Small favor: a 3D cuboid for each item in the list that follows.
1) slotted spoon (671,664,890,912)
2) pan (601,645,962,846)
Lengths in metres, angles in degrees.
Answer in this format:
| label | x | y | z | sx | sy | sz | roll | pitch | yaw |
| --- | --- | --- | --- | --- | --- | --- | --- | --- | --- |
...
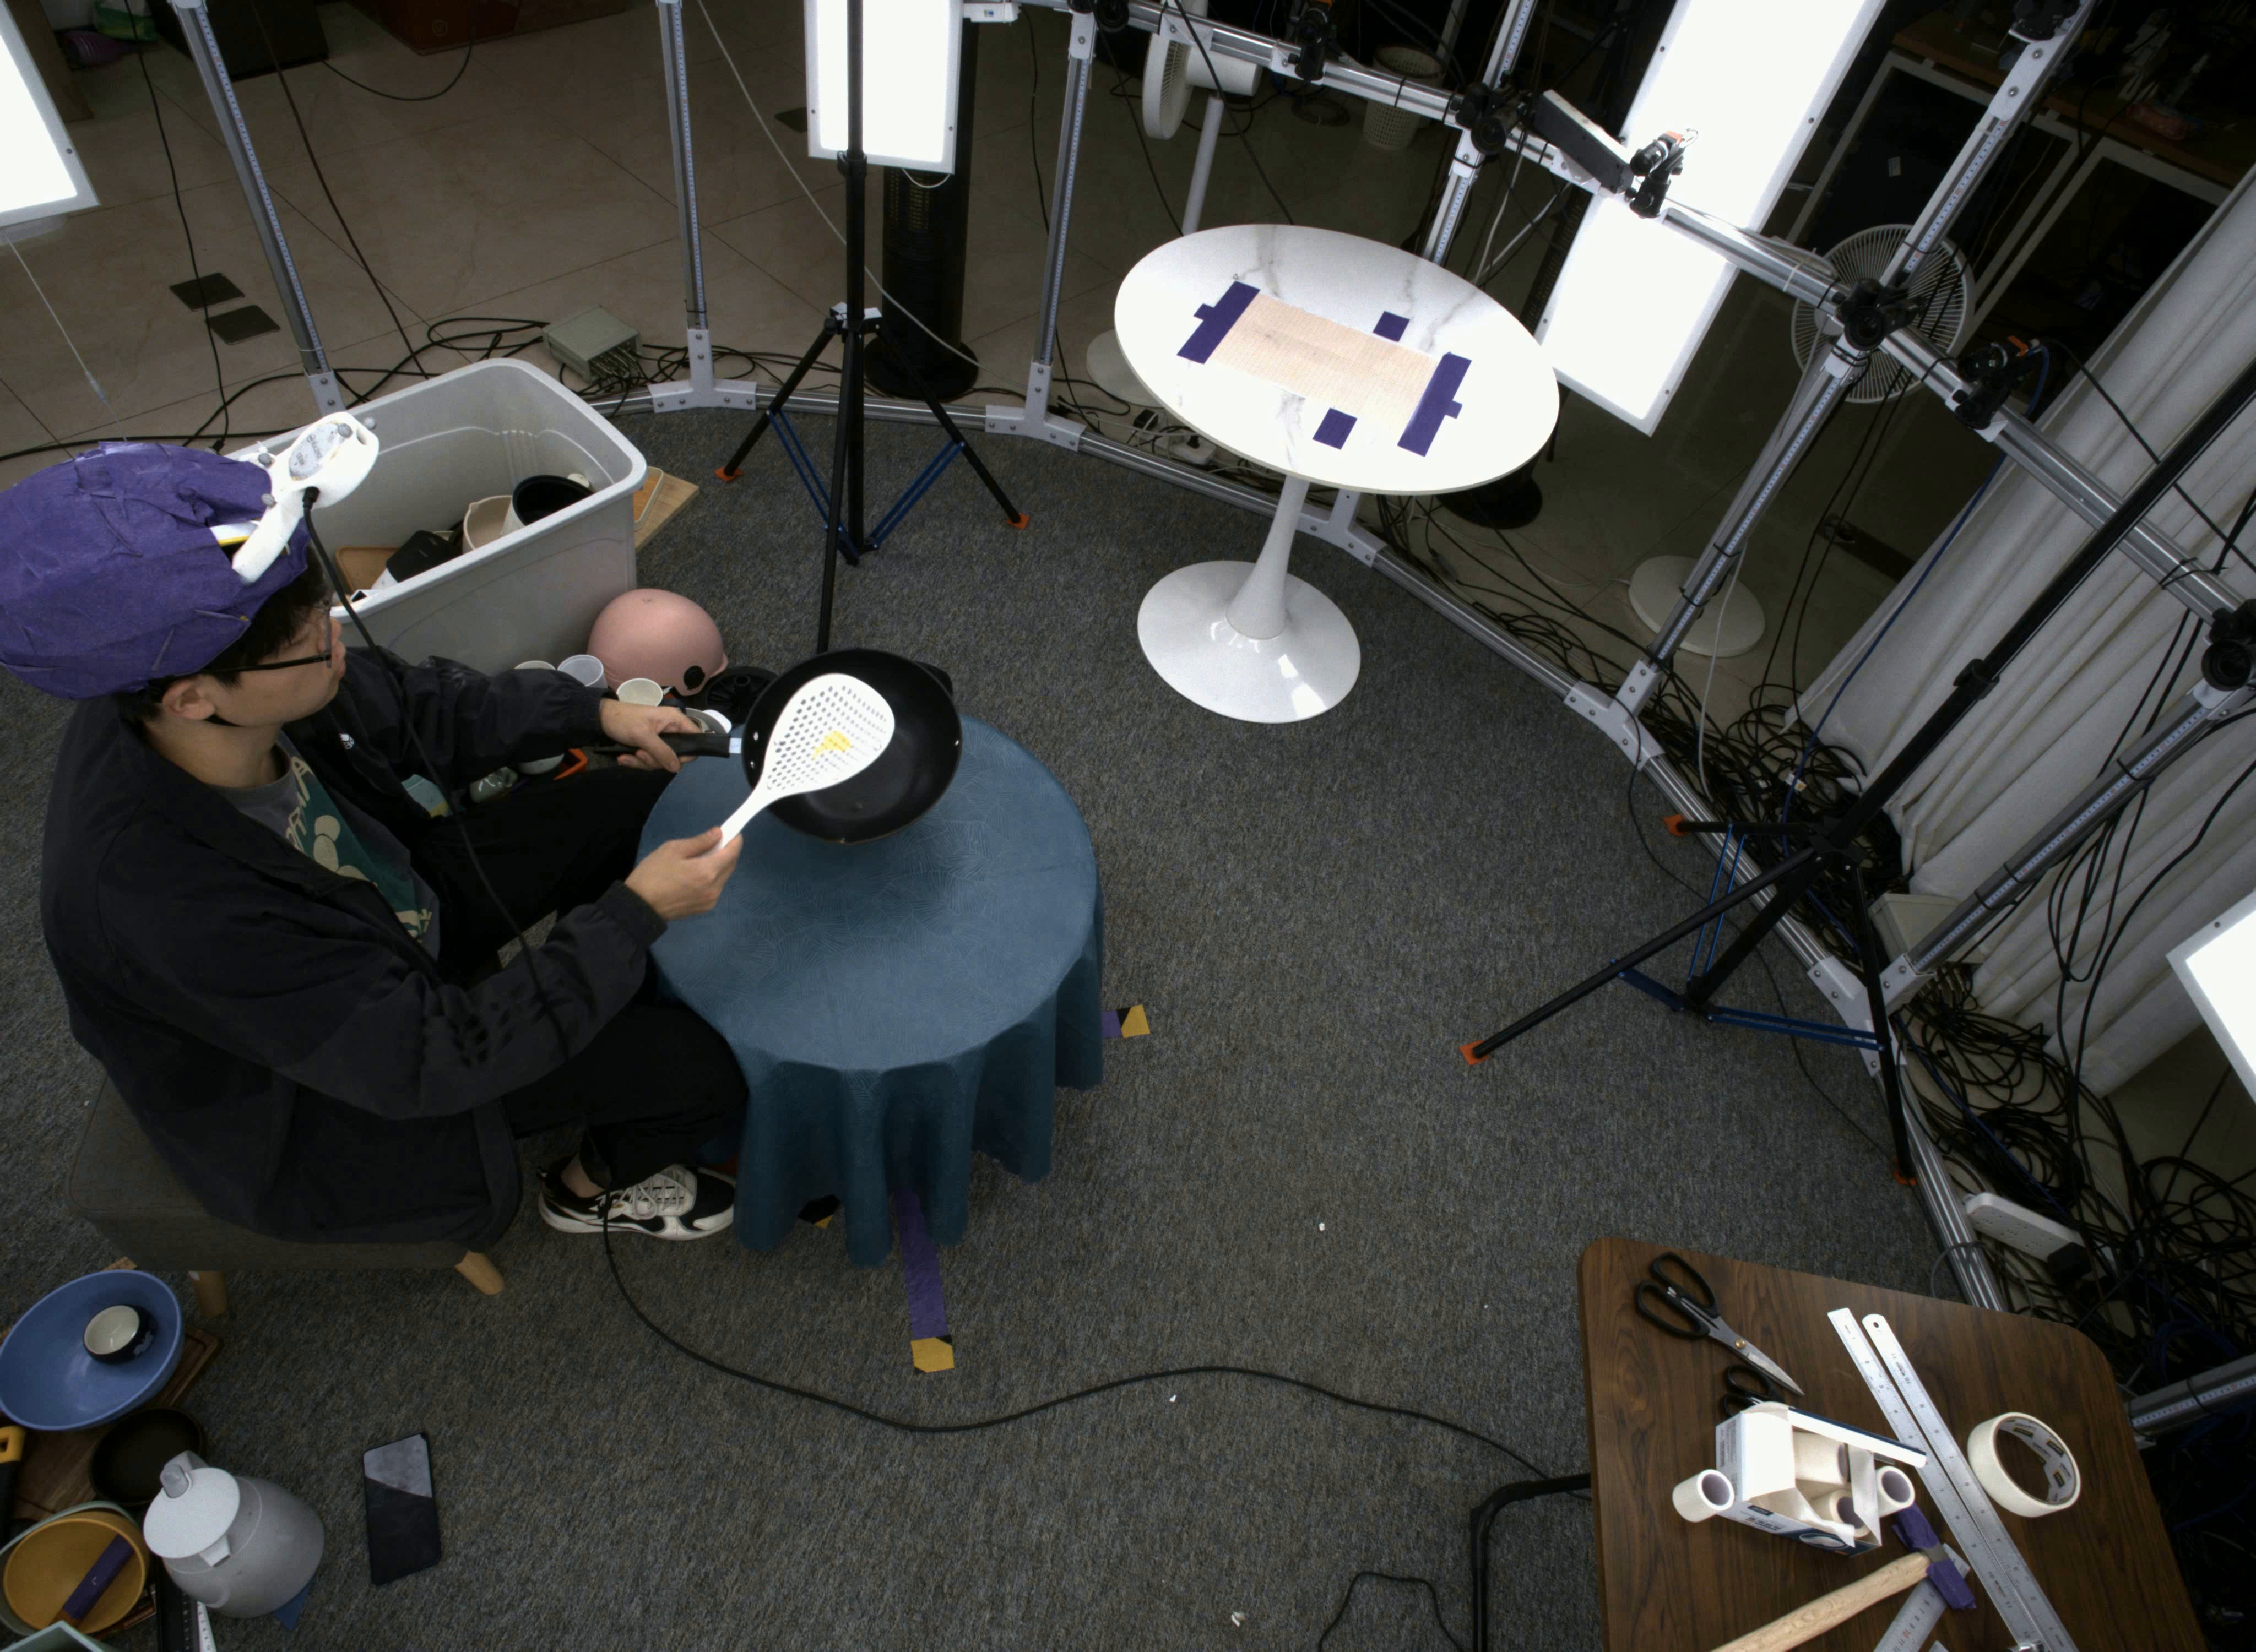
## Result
| label | x | y | z | sx | sy | sz | roll | pitch | yaw |
| --- | --- | --- | --- | --- | --- | --- | --- | --- | --- |
| slotted spoon | -0.420 | -0.044 | 1.519 | 0.135 | 0.051 | 0.347 | 37 | 69 | 8 |
| pan | -0.440 | -0.089 | 1.655 | 0.460 | 0.088 | 0.285 | -1 | 66 | -6 |
